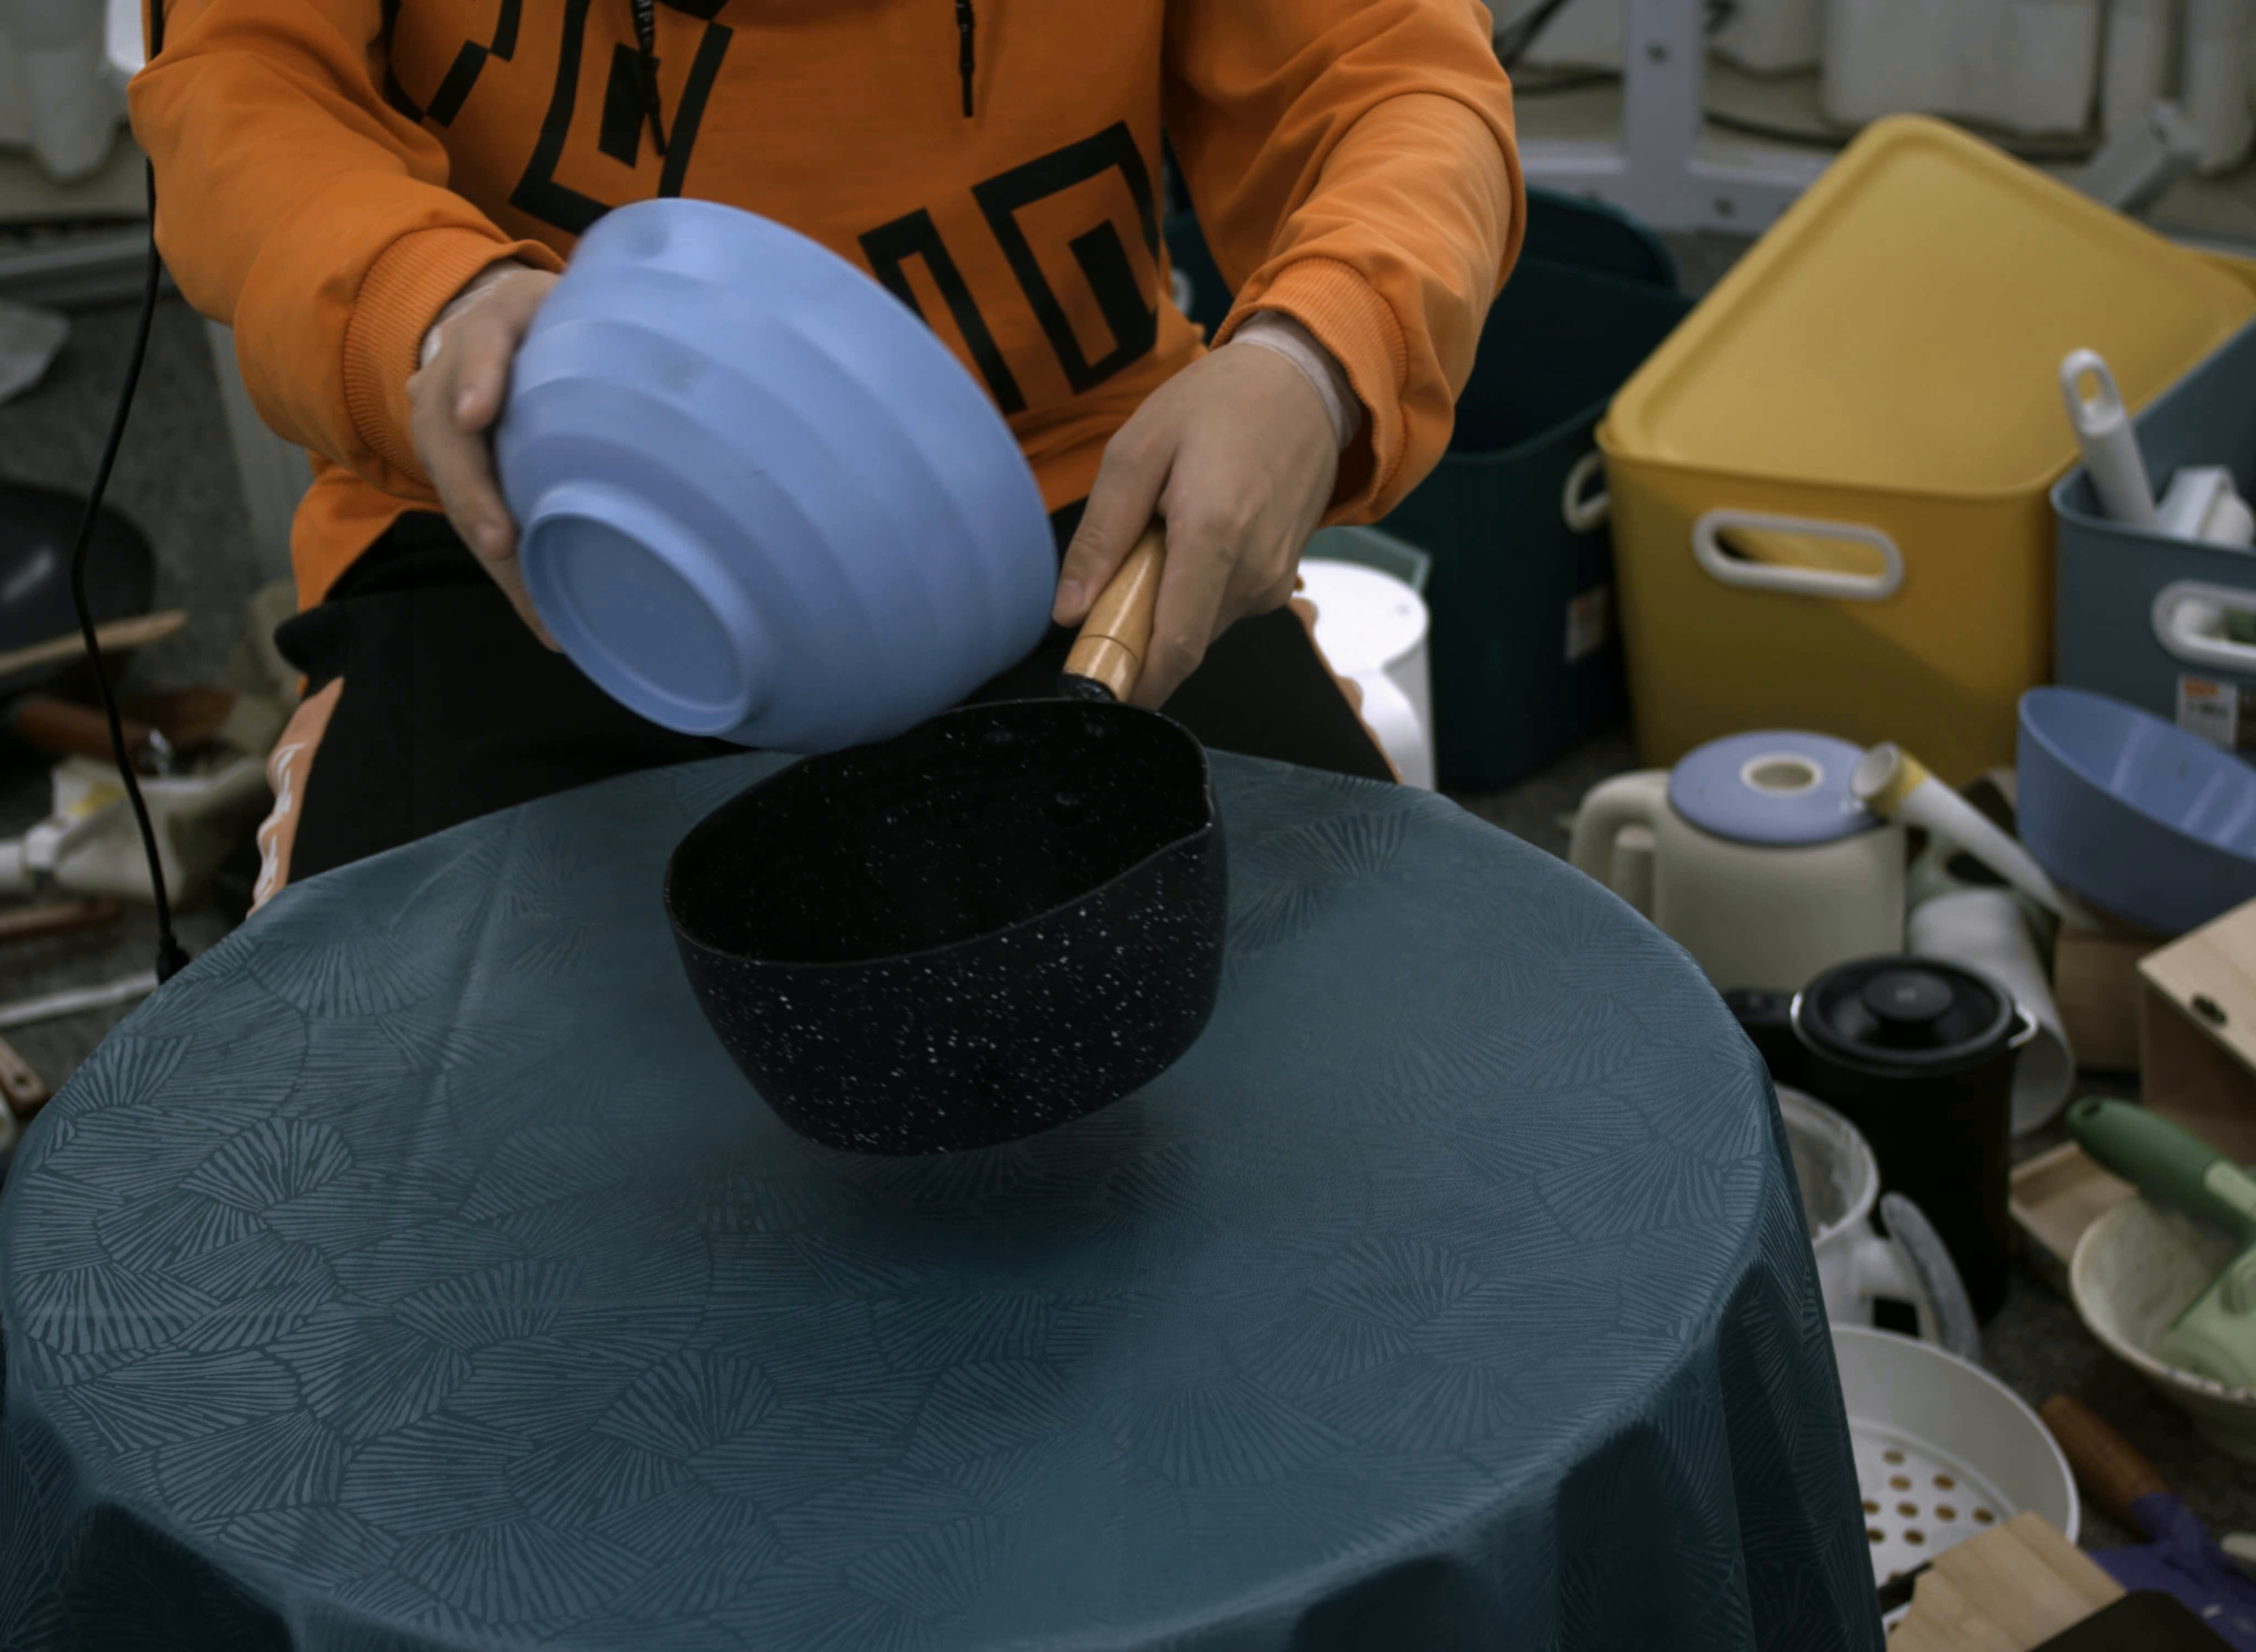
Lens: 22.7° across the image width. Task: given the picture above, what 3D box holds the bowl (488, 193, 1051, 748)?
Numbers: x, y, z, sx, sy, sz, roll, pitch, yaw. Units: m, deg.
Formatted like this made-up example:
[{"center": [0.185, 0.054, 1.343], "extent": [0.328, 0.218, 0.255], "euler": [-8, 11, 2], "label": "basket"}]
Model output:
[{"center": [-0.131, -0.095, 1.791], "extent": [0.196, 0.194, 0.097], "euler": [17, 53, 34], "label": "bowl"}]

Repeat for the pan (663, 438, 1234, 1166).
[{"center": [-0.027, -0.011, 1.909], "extent": [0.205, 0.107, 0.349], "euler": [-4, 27, 25], "label": "pan"}]
